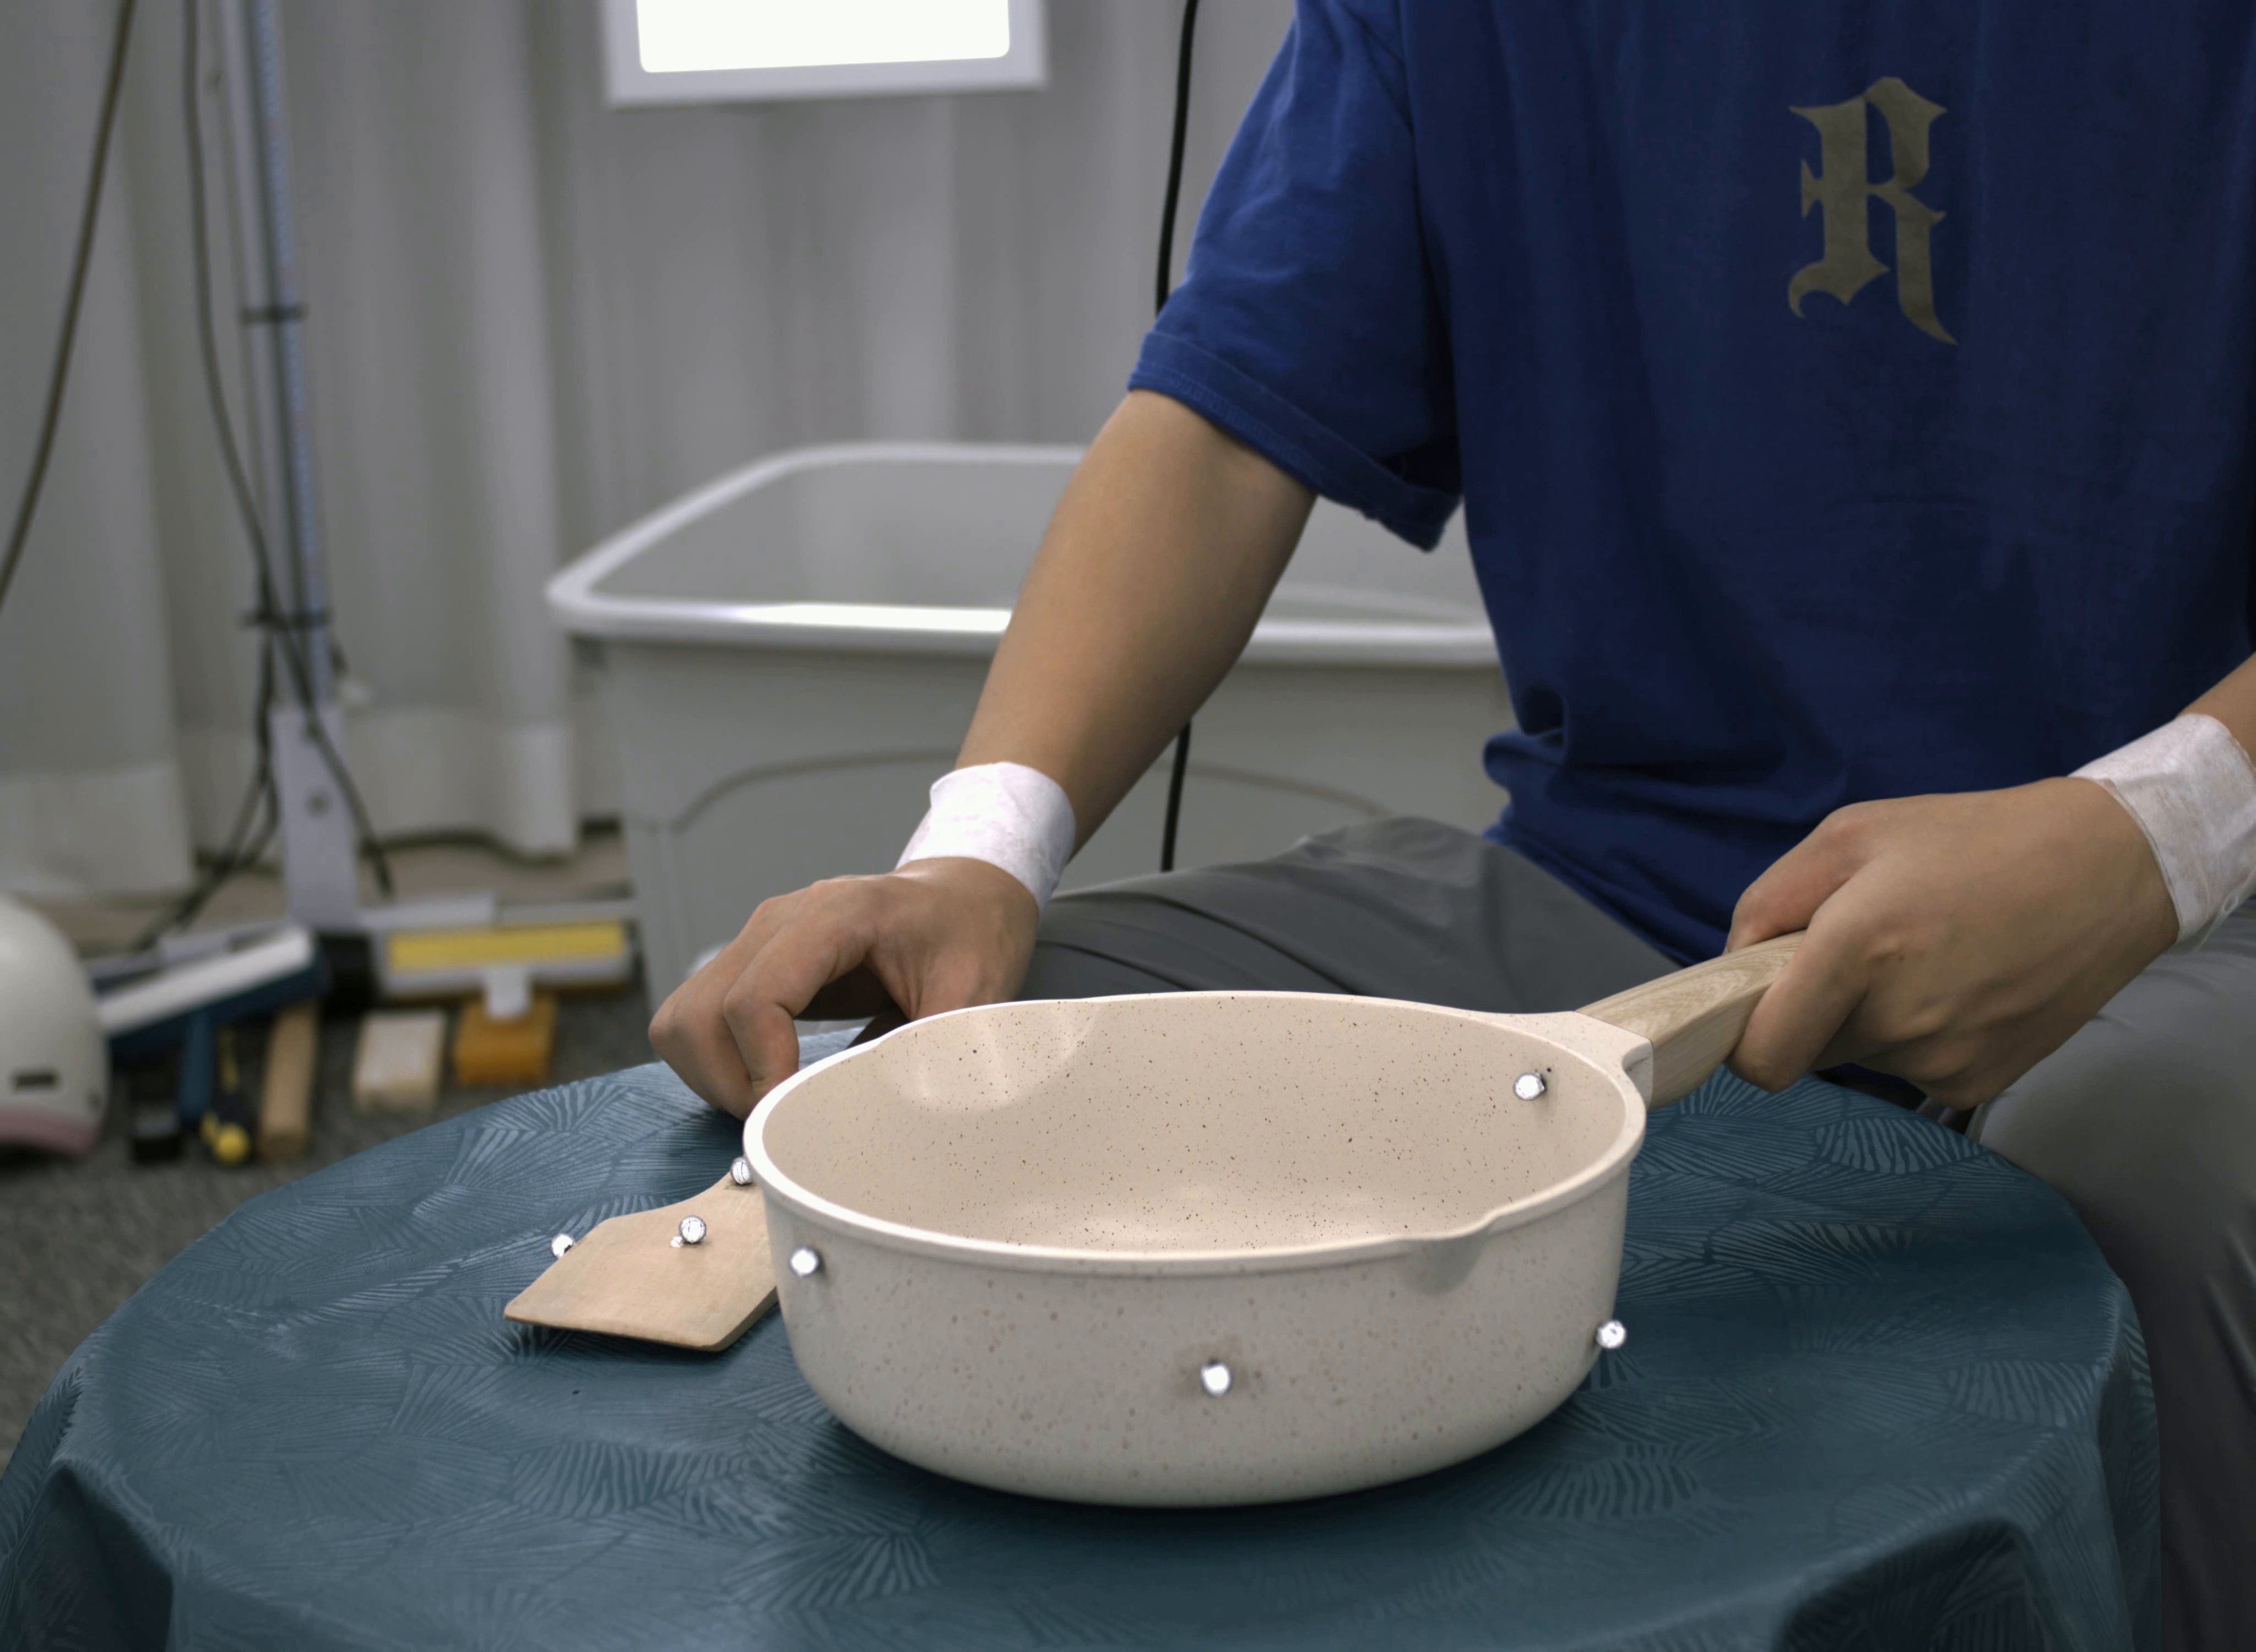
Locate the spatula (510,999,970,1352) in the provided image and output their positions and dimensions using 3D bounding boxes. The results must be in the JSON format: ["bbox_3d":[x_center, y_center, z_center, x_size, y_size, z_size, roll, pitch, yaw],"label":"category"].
[{"bbox_3d":[-0.108,0.106,1.724,0.072,0.010,0.294,6,19,16],"label":"spatula"}]

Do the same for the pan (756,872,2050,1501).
[{"bbox_3d":[0.100,0.097,1.566,0.433,0.102,0.265,-10,14,-31],"label":"pan"}]
